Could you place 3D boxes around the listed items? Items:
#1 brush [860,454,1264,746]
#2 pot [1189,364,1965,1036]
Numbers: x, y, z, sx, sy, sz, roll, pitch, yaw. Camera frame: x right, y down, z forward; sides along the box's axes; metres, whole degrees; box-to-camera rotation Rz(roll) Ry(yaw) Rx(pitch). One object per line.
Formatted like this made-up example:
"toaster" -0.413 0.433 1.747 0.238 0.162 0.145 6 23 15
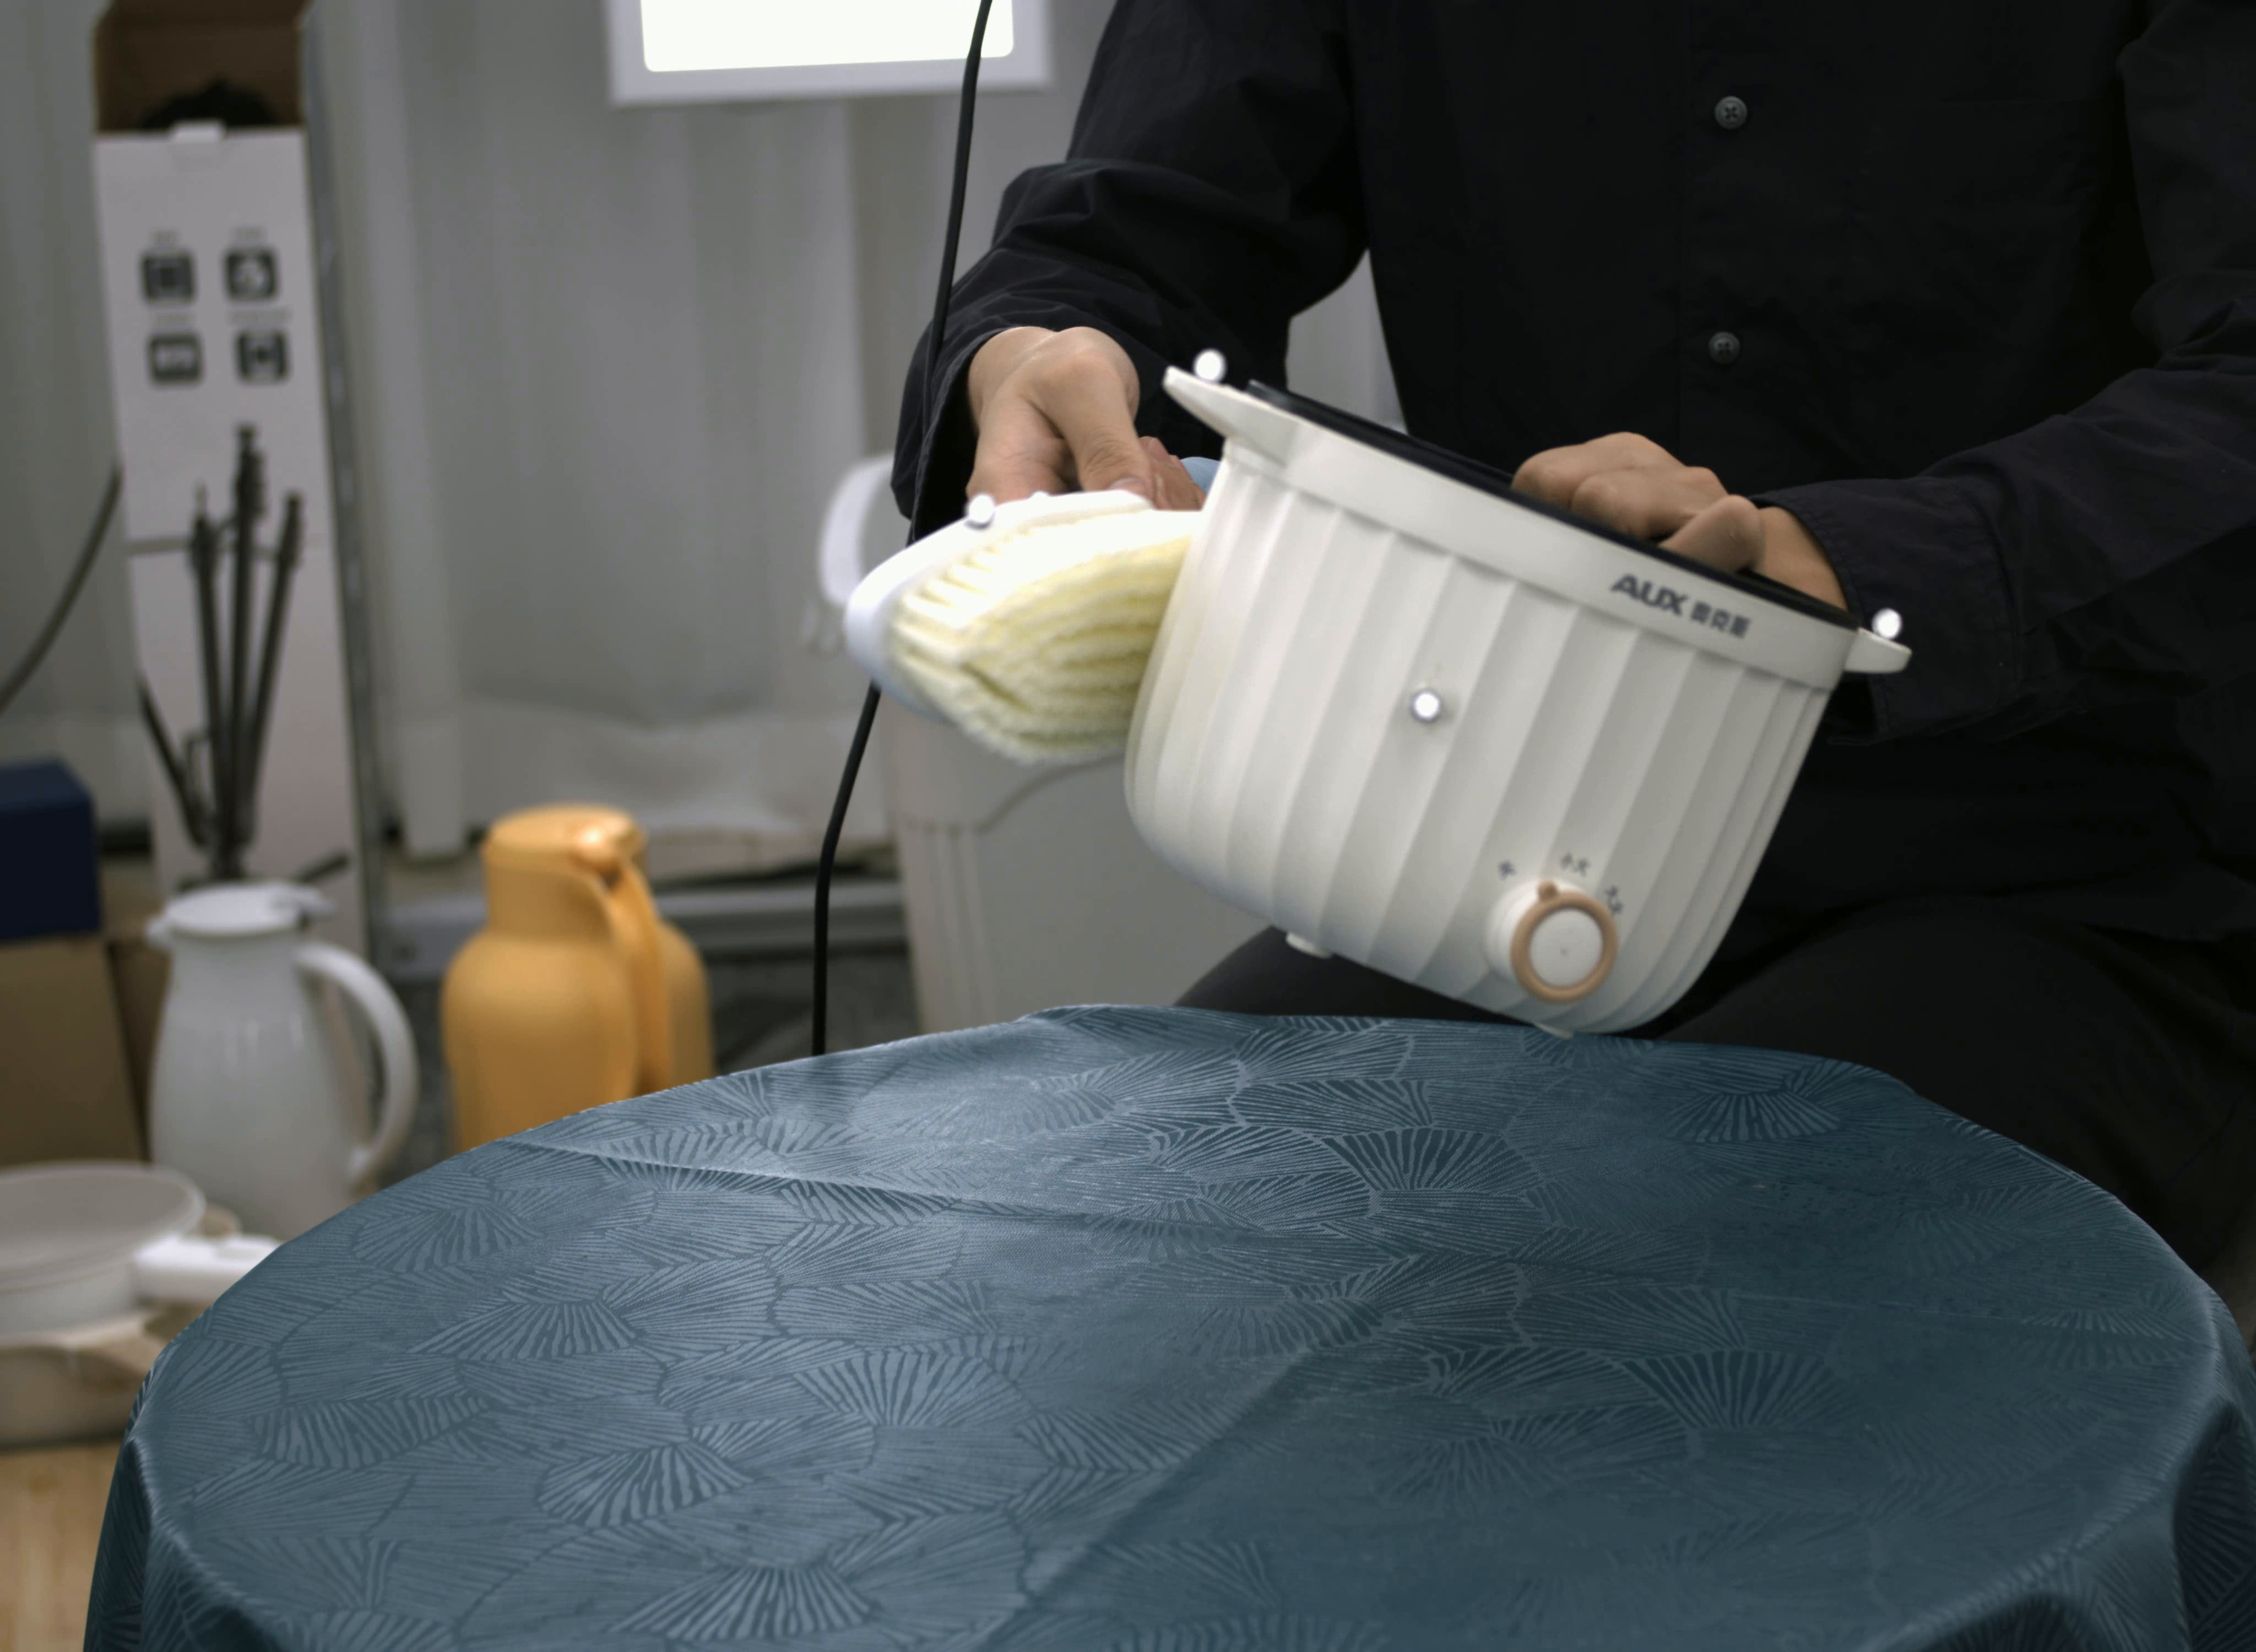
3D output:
"brush" 0.015 -0.078 1.616 0.083 0.085 0.325 -39 -5 20
"pot" 0.114 -0.027 1.508 0.238 0.143 0.192 18 3 -24
